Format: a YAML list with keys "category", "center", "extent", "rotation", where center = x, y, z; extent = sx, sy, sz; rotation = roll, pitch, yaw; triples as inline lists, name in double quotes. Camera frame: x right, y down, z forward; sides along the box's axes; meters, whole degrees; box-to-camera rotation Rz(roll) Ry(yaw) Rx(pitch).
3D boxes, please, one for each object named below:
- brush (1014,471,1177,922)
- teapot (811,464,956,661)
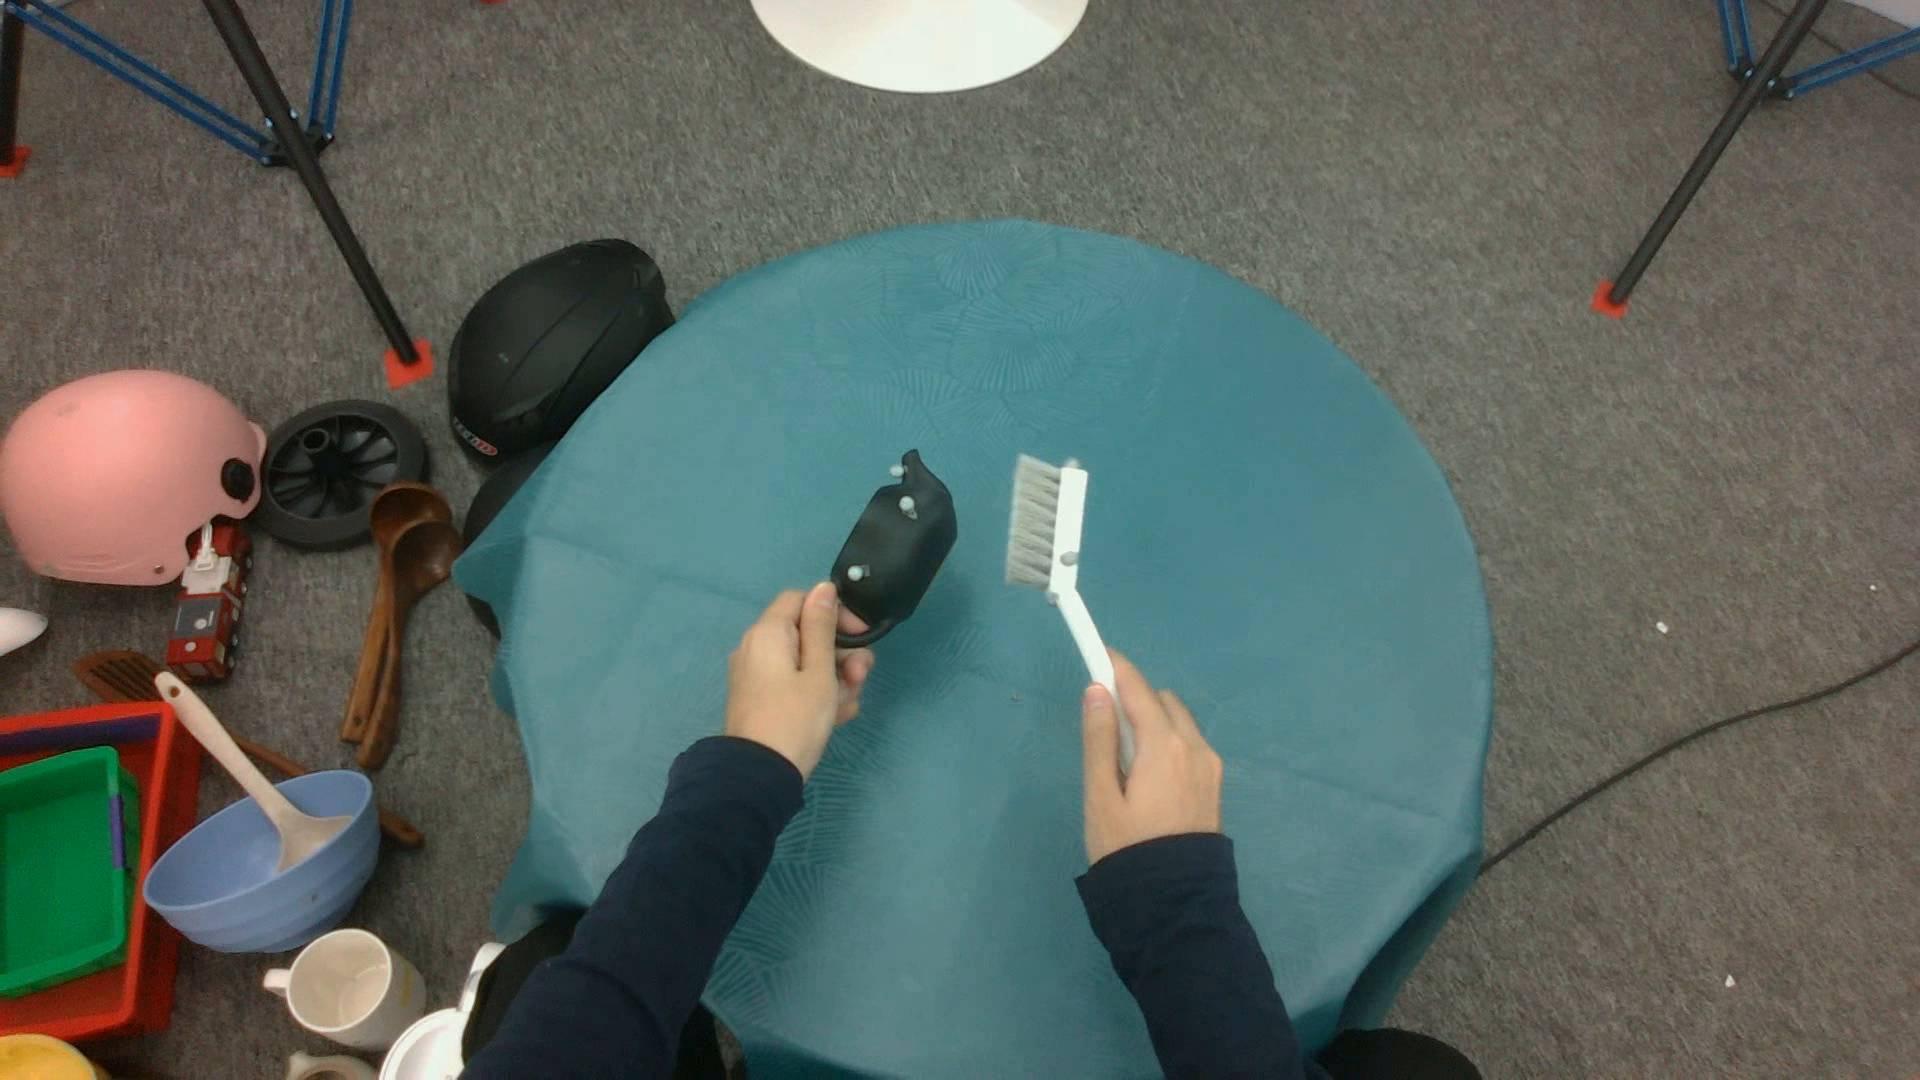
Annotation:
- category: "brush"
  center: [0.066, 0.081, 0.723]
  extent: [0.050, 0.034, 0.244]
  rotation: [-10, 79, -8]
- category: "teapot"
  center: [-0.038, 0.017, 0.796]
  extent: [0.053, 0.090, 0.134]
  rotation: [29, 60, 3]
